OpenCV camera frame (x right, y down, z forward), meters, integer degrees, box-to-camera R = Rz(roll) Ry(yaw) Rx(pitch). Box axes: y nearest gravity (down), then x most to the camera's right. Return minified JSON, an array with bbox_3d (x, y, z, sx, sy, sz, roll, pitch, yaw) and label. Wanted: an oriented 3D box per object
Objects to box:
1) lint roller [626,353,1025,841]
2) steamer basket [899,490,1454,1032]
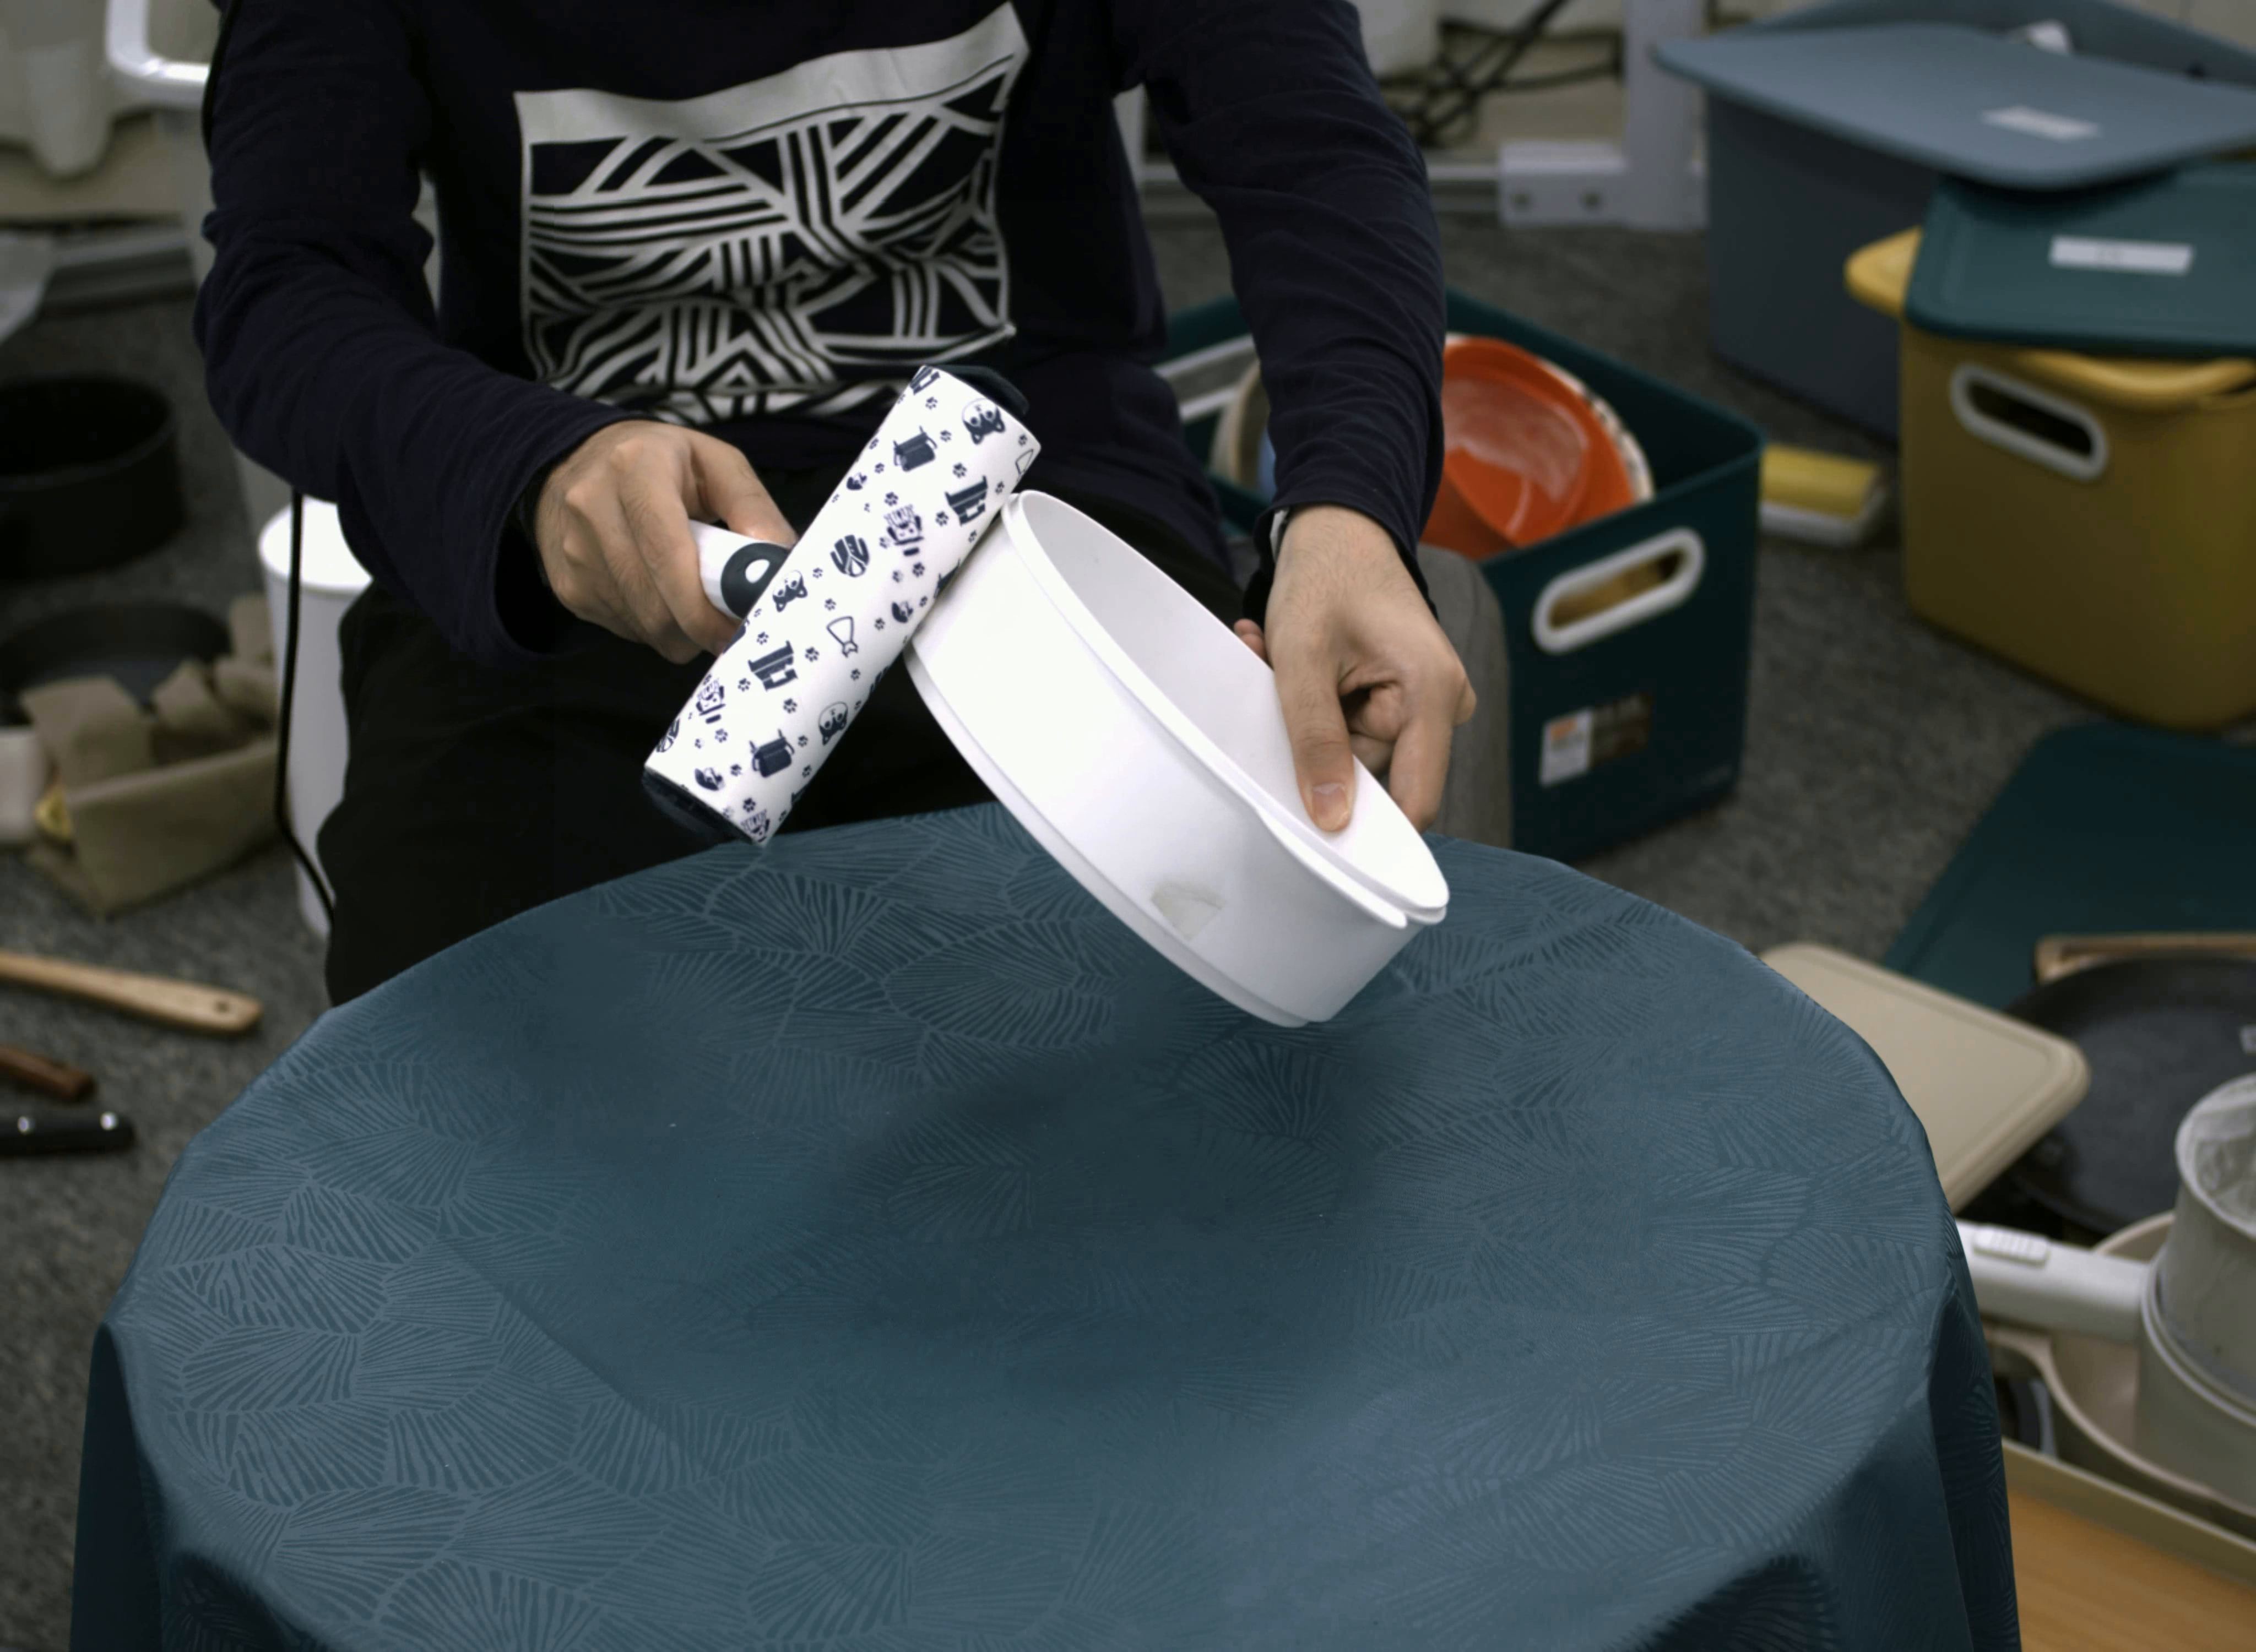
[{"bbox_3d":[-0.133,-0.085,1.906,0.177,0.050,0.246,-56,23,-8],"label":"lint roller"},{"bbox_3d":[0.014,-0.019,1.846,0.069,0.201,0.233,-46,38,11],"label":"steamer basket"}]
